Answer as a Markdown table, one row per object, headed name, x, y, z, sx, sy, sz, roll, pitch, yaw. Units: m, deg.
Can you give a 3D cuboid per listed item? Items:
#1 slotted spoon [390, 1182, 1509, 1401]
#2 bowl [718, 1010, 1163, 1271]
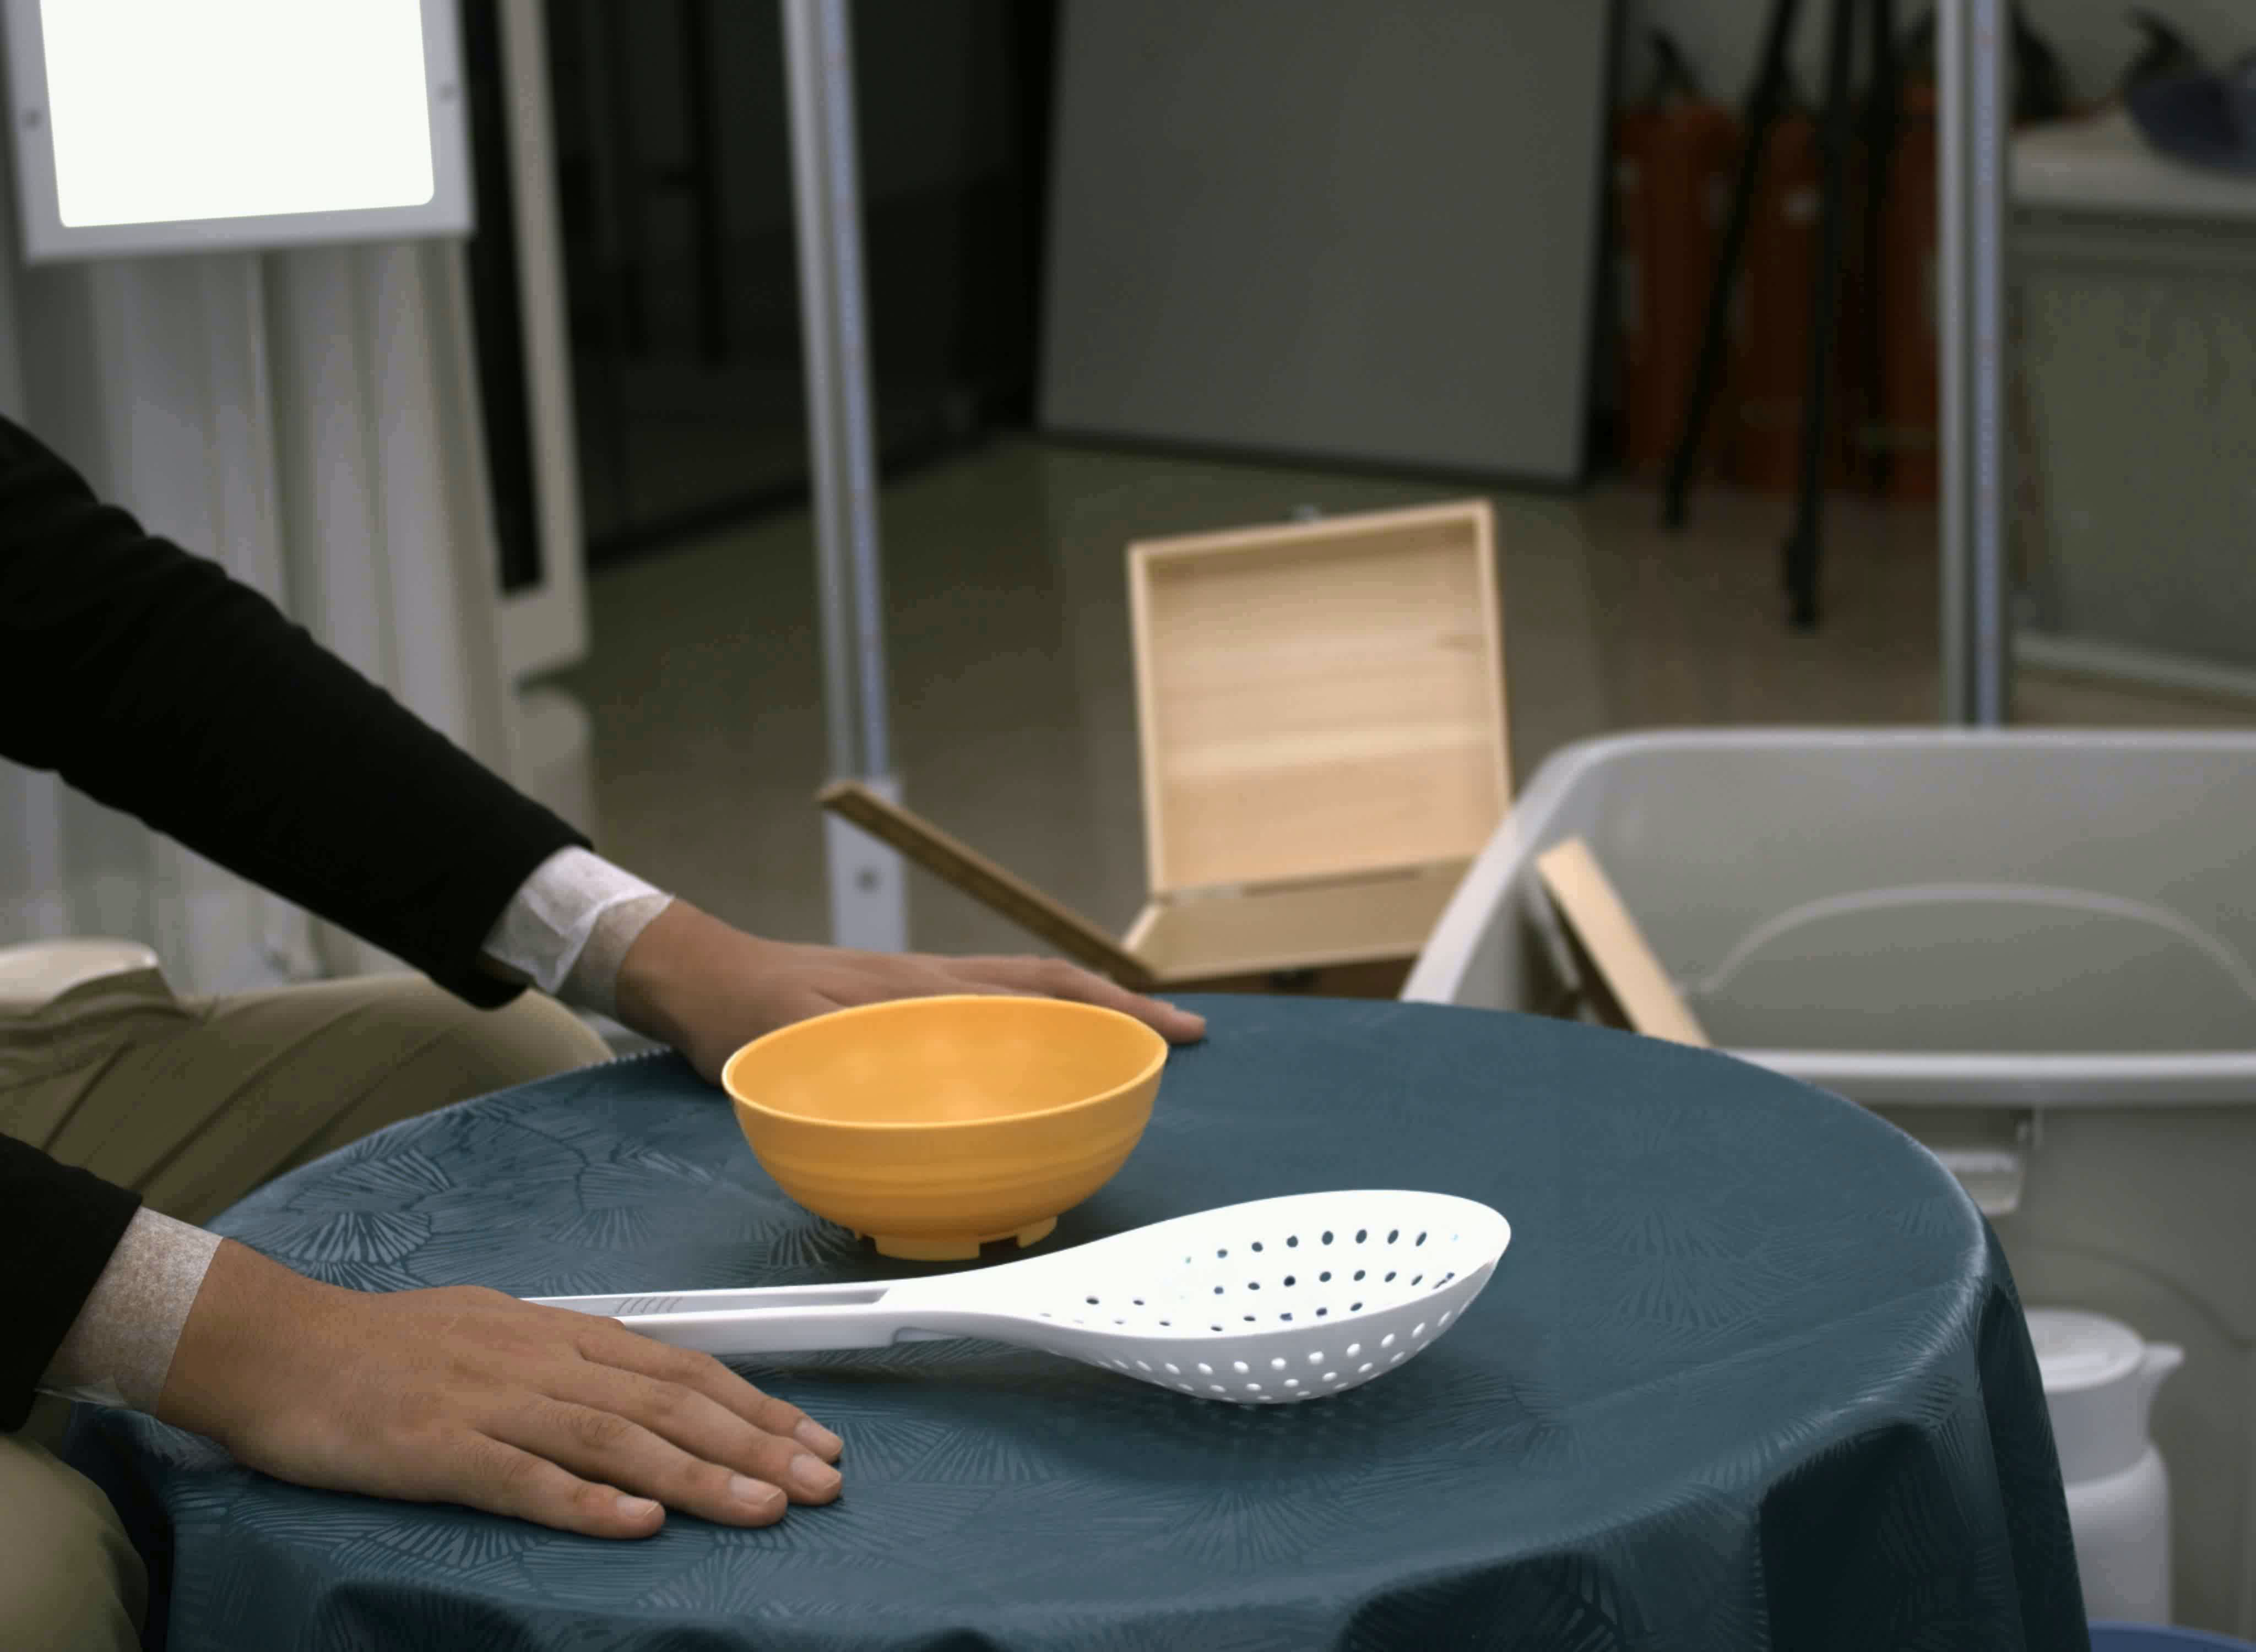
| name | x | y | z | sx | sy | sz | roll | pitch | yaw |
| --- | --- | --- | --- | --- | --- | --- | --- | --- | --- |
| slotted spoon | -0.056 | 0.143 | 1.601 | 0.348 | 0.046 | 0.135 | -1 | 13 | 16 |
| bowl | -0.059 | 0.105 | 1.737 | 0.143 | 0.061 | 0.145 | -2 | 12 | 0 |
